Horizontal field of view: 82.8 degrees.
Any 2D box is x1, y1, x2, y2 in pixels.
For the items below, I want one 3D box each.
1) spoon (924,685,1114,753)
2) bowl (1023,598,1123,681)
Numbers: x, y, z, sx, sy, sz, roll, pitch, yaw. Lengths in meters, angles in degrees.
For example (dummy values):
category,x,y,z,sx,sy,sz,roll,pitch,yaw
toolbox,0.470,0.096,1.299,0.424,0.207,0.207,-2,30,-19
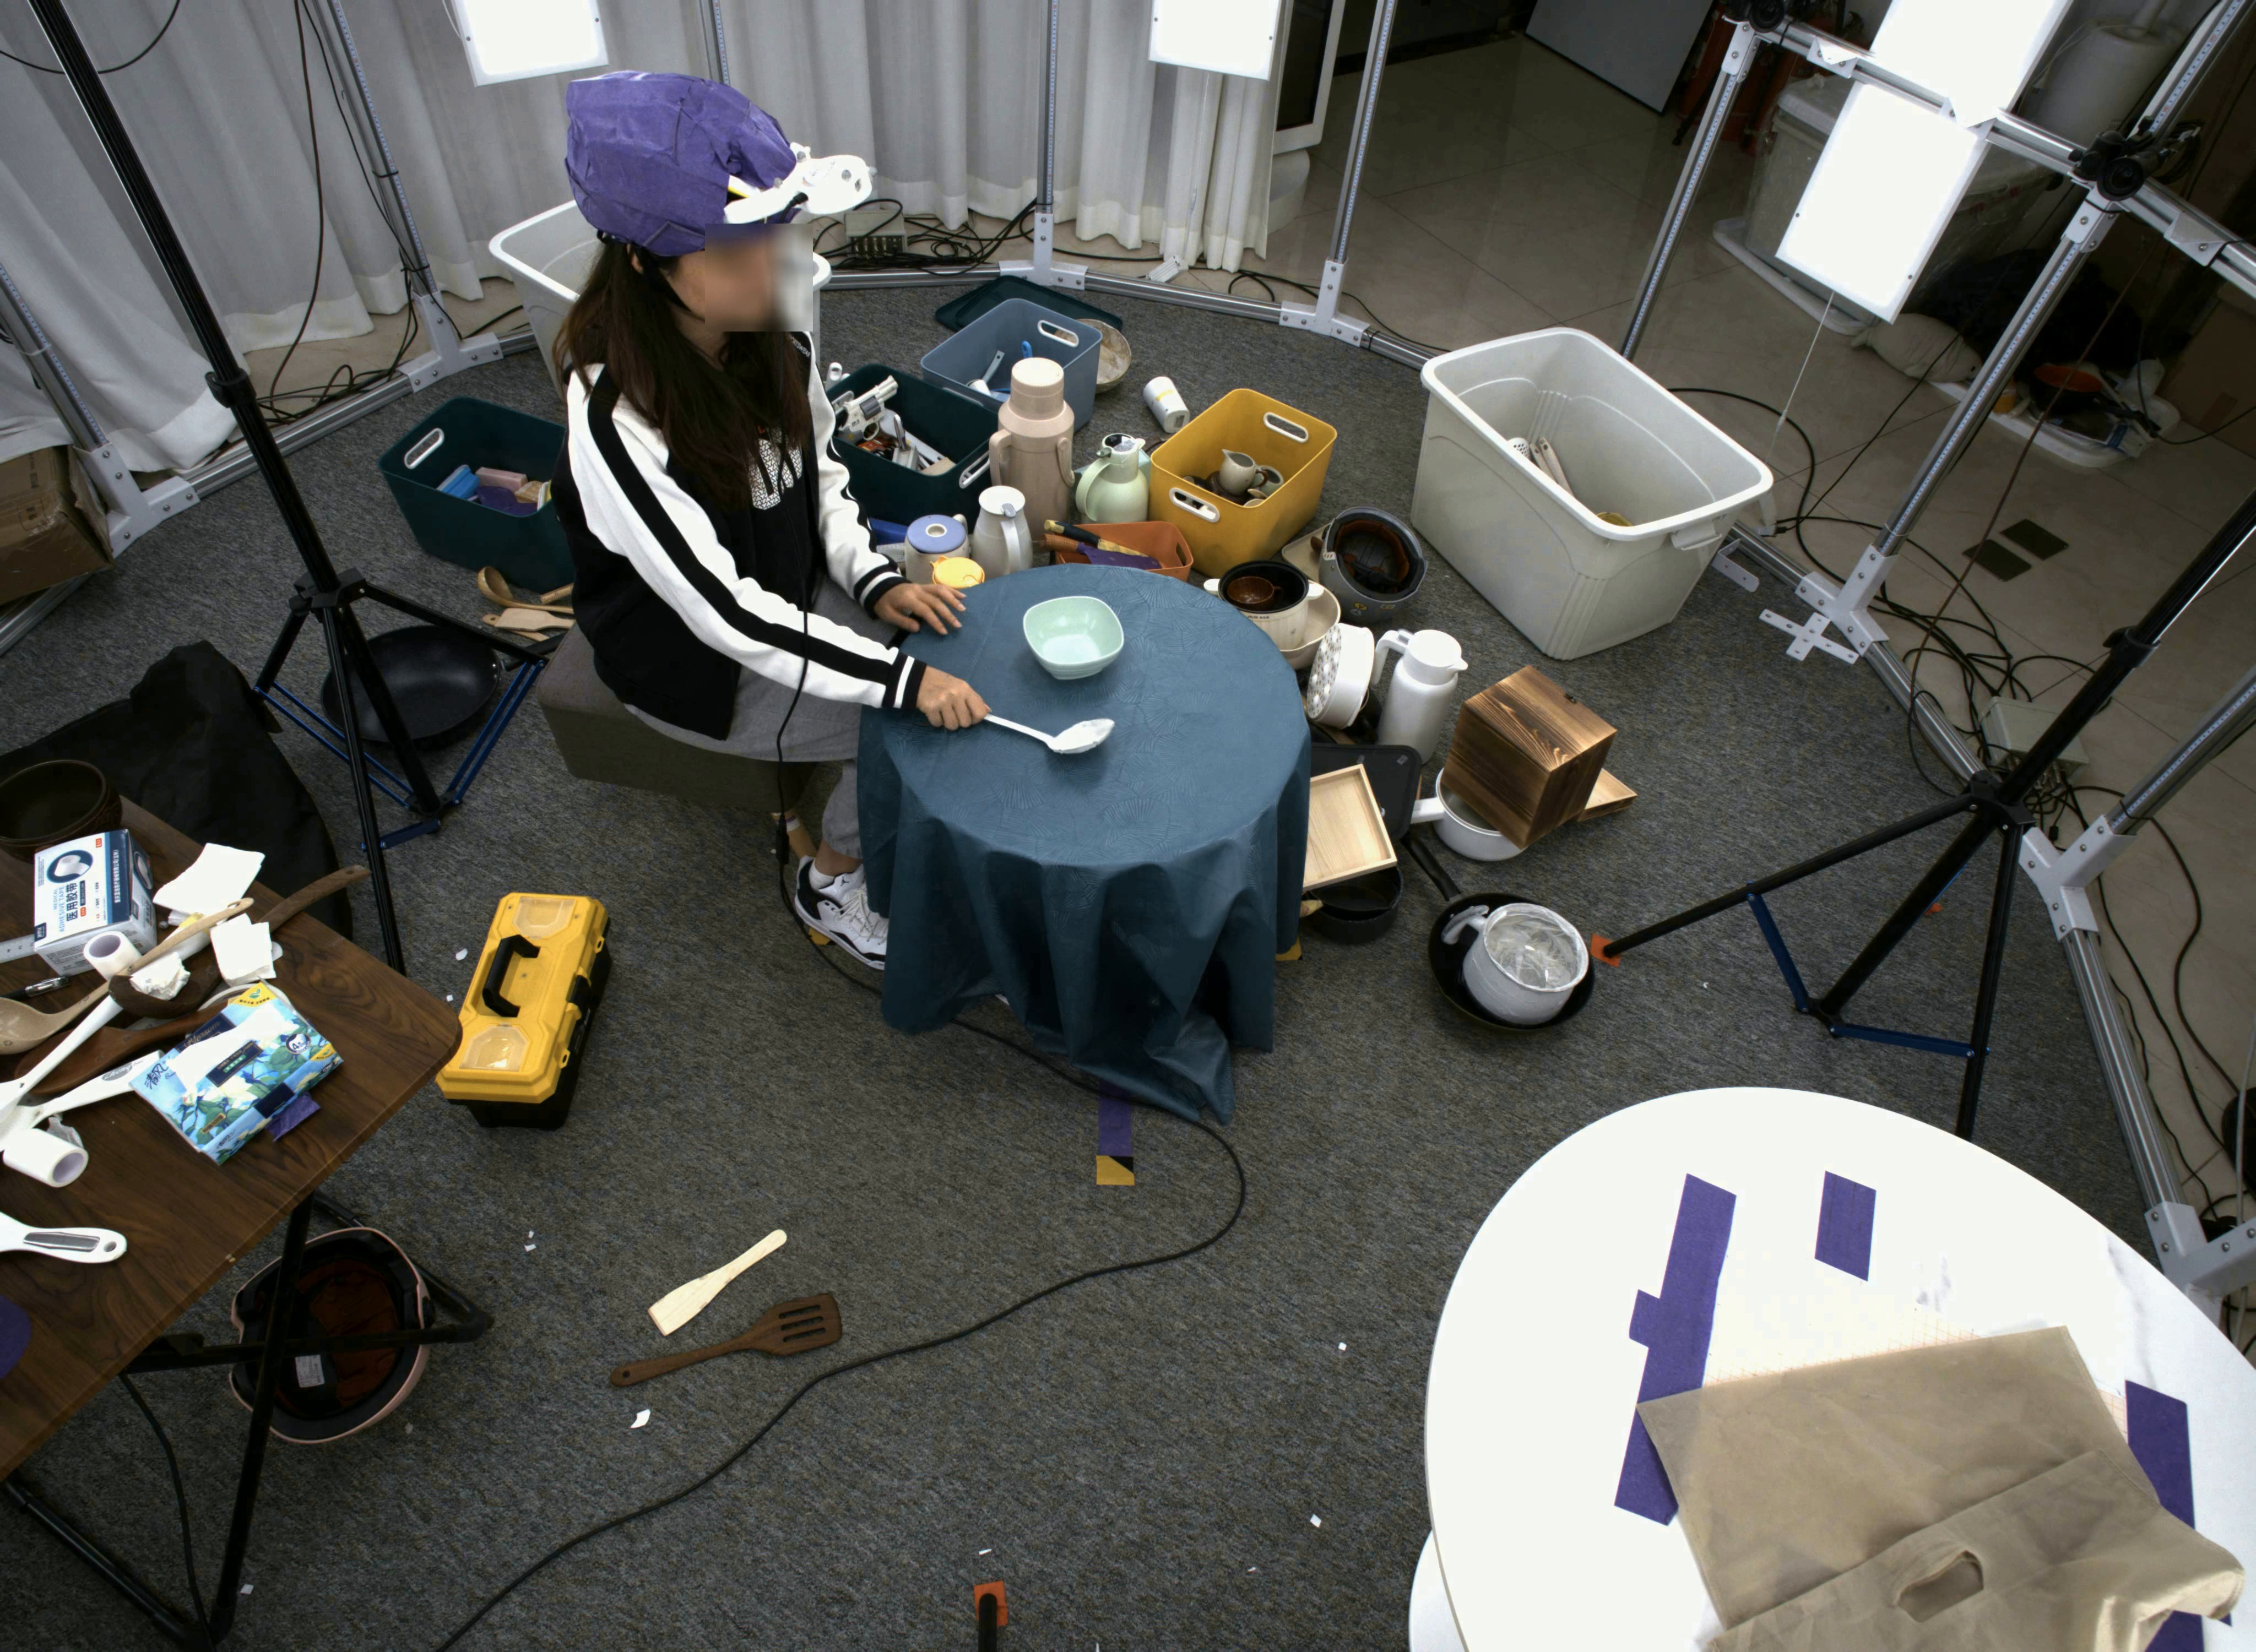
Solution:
category,x,y,z,sx,sy,sz,roll,pitch,yaw
spoon,-0.152,-0.164,1.762,0.279,0.058,0.102,23,31,13
bowl,-0.080,-0.261,1.858,0.151,0.057,0.155,2,49,-2
